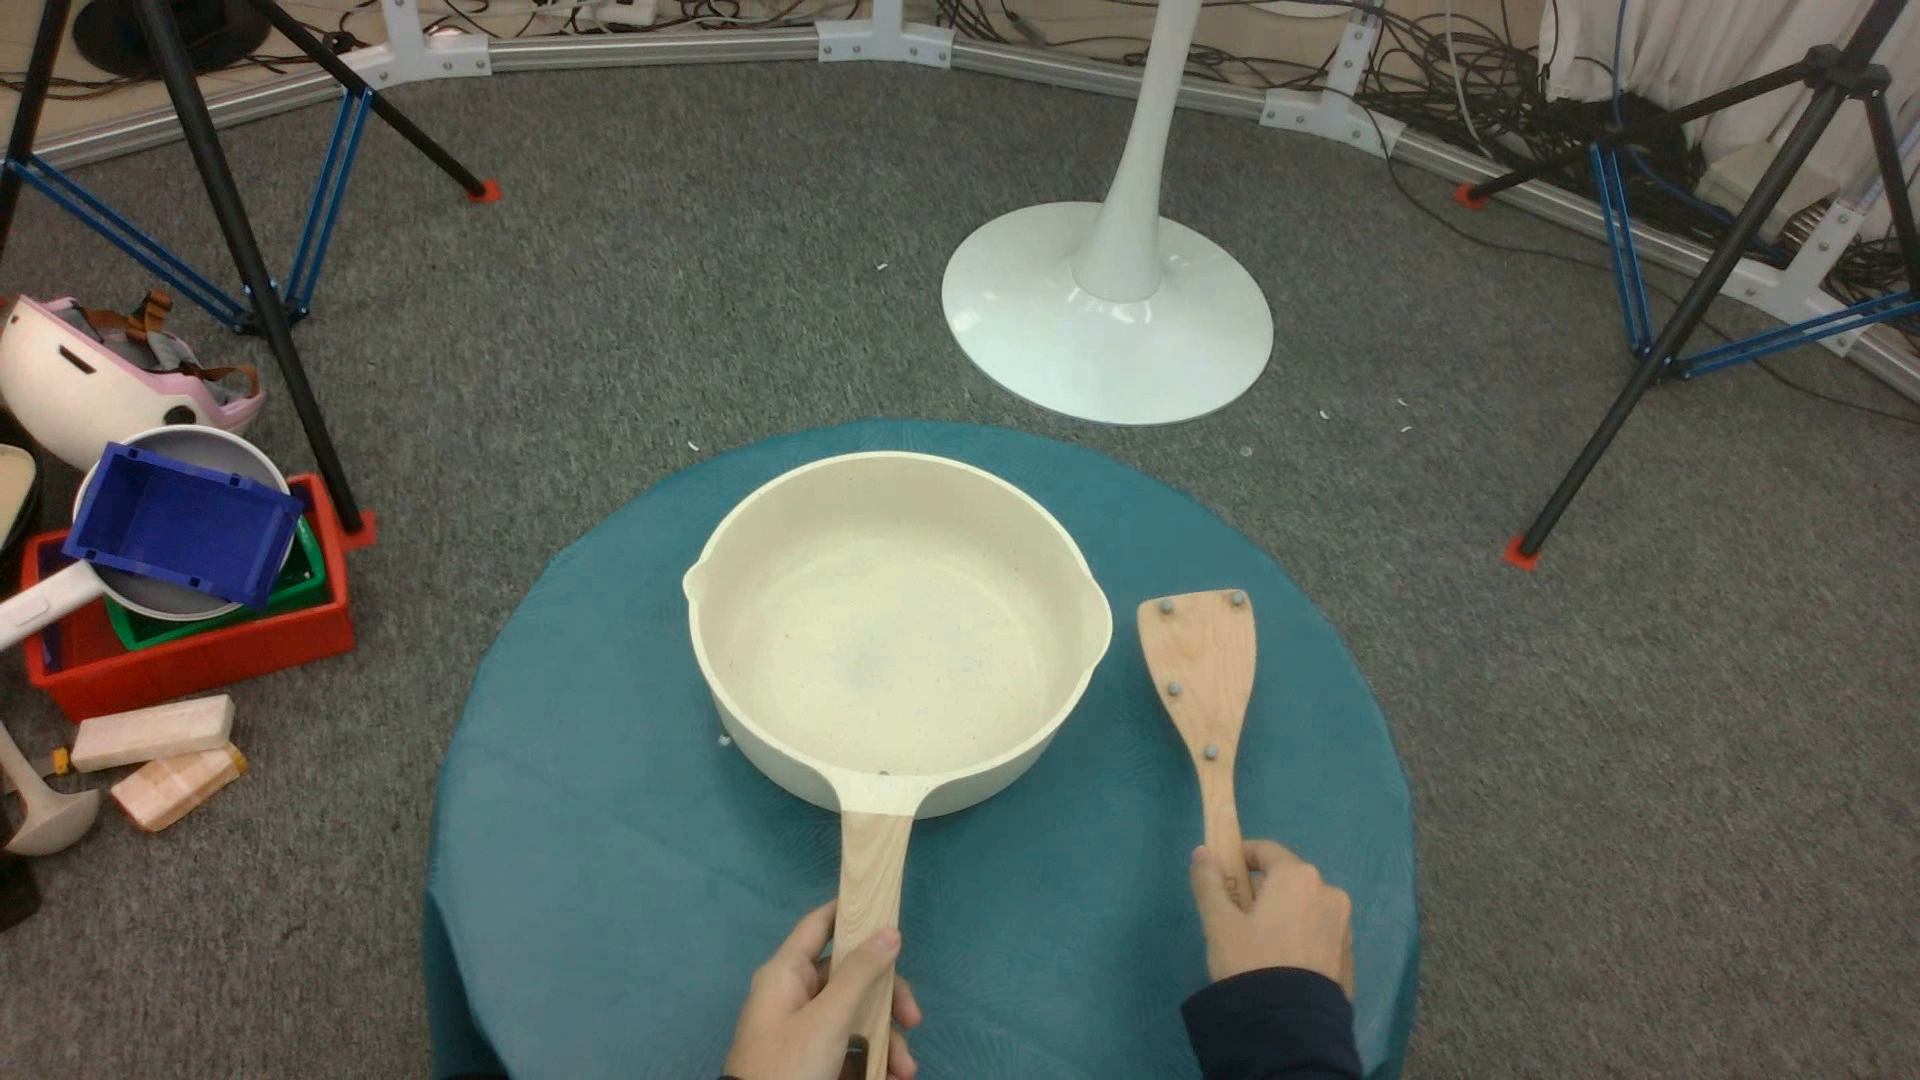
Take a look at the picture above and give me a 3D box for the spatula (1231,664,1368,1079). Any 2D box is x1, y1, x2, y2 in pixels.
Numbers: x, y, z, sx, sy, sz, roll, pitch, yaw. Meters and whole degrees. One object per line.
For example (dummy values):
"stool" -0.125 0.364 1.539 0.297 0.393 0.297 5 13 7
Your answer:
"spatula" 0.206 0.186 0.808 0.080 0.016 0.329 2 37 6

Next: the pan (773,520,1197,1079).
"pan" 0.005 0.170 0.810 0.263 0.101 0.437 7 48 0
